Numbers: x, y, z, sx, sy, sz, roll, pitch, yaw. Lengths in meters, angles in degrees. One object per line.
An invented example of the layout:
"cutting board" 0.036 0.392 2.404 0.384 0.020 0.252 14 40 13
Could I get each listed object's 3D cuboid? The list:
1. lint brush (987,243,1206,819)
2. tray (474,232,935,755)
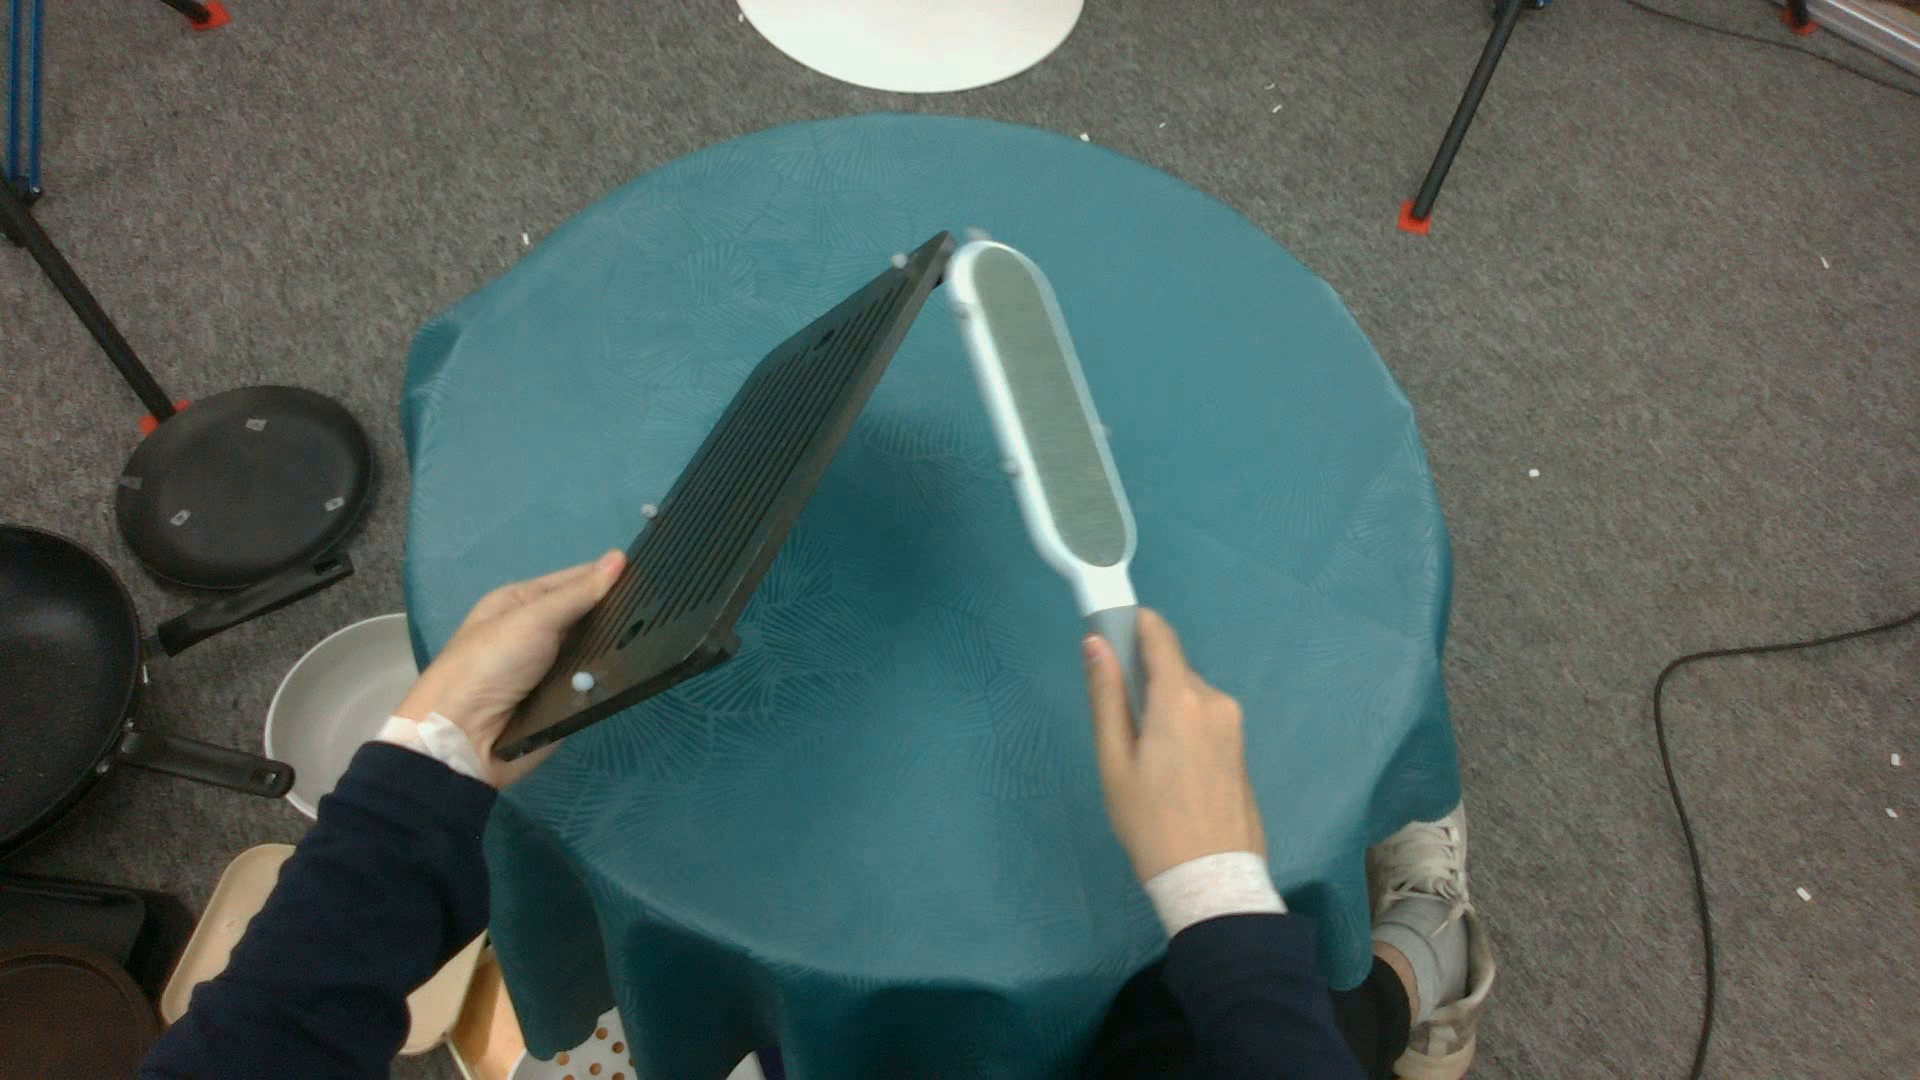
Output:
"lint brush" 0.068 -0.014 0.683 0.060 0.021 0.309 1 66 -39
"tray" -0.113 -0.030 0.667 0.018 0.169 0.307 46 43 -22
